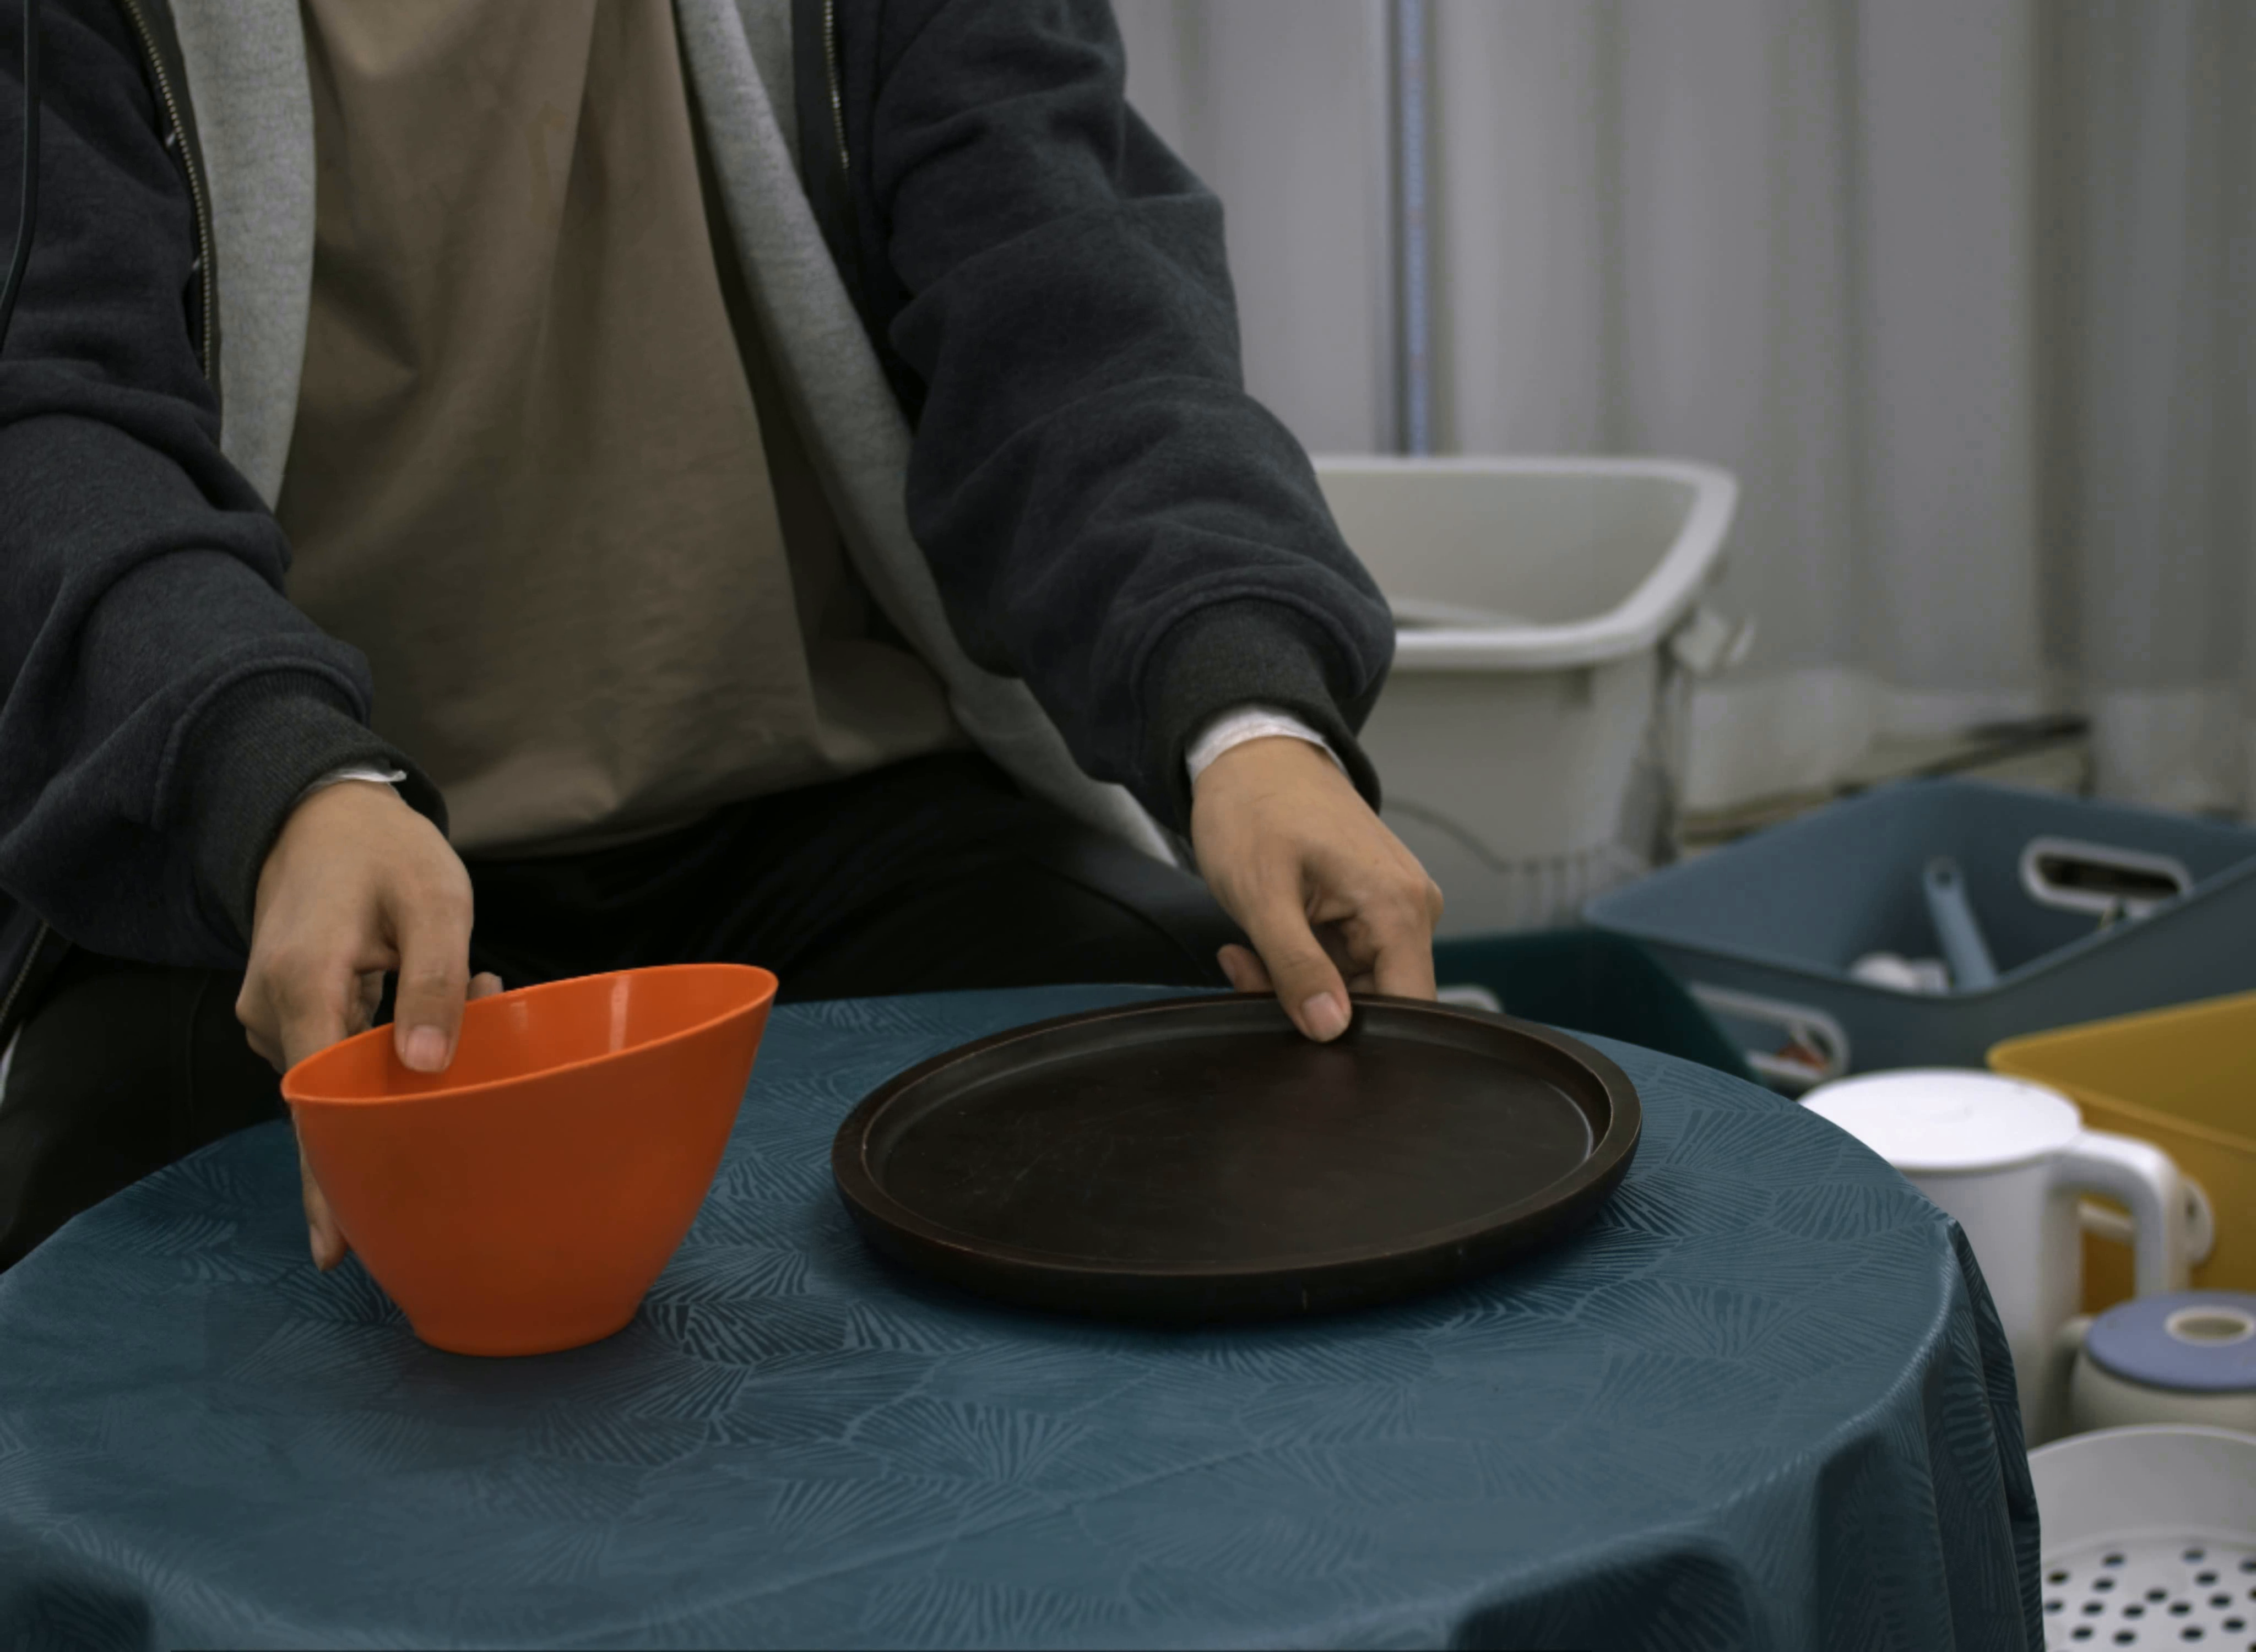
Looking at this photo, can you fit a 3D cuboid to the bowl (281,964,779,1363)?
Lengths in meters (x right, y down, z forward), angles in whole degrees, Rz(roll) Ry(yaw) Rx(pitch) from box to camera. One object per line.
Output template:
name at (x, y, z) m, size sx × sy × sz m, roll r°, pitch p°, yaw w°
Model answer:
bowl at (-0.173, 0.100, 1.610) m, size 0.147 × 0.104 × 0.149 m, roll -3°, pitch 15°, yaw 1°

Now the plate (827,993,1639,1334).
plate at (0.033, 0.102, 1.700) m, size 0.254 × 0.029 × 0.257 m, roll -5°, pitch 17°, yaw 1°
